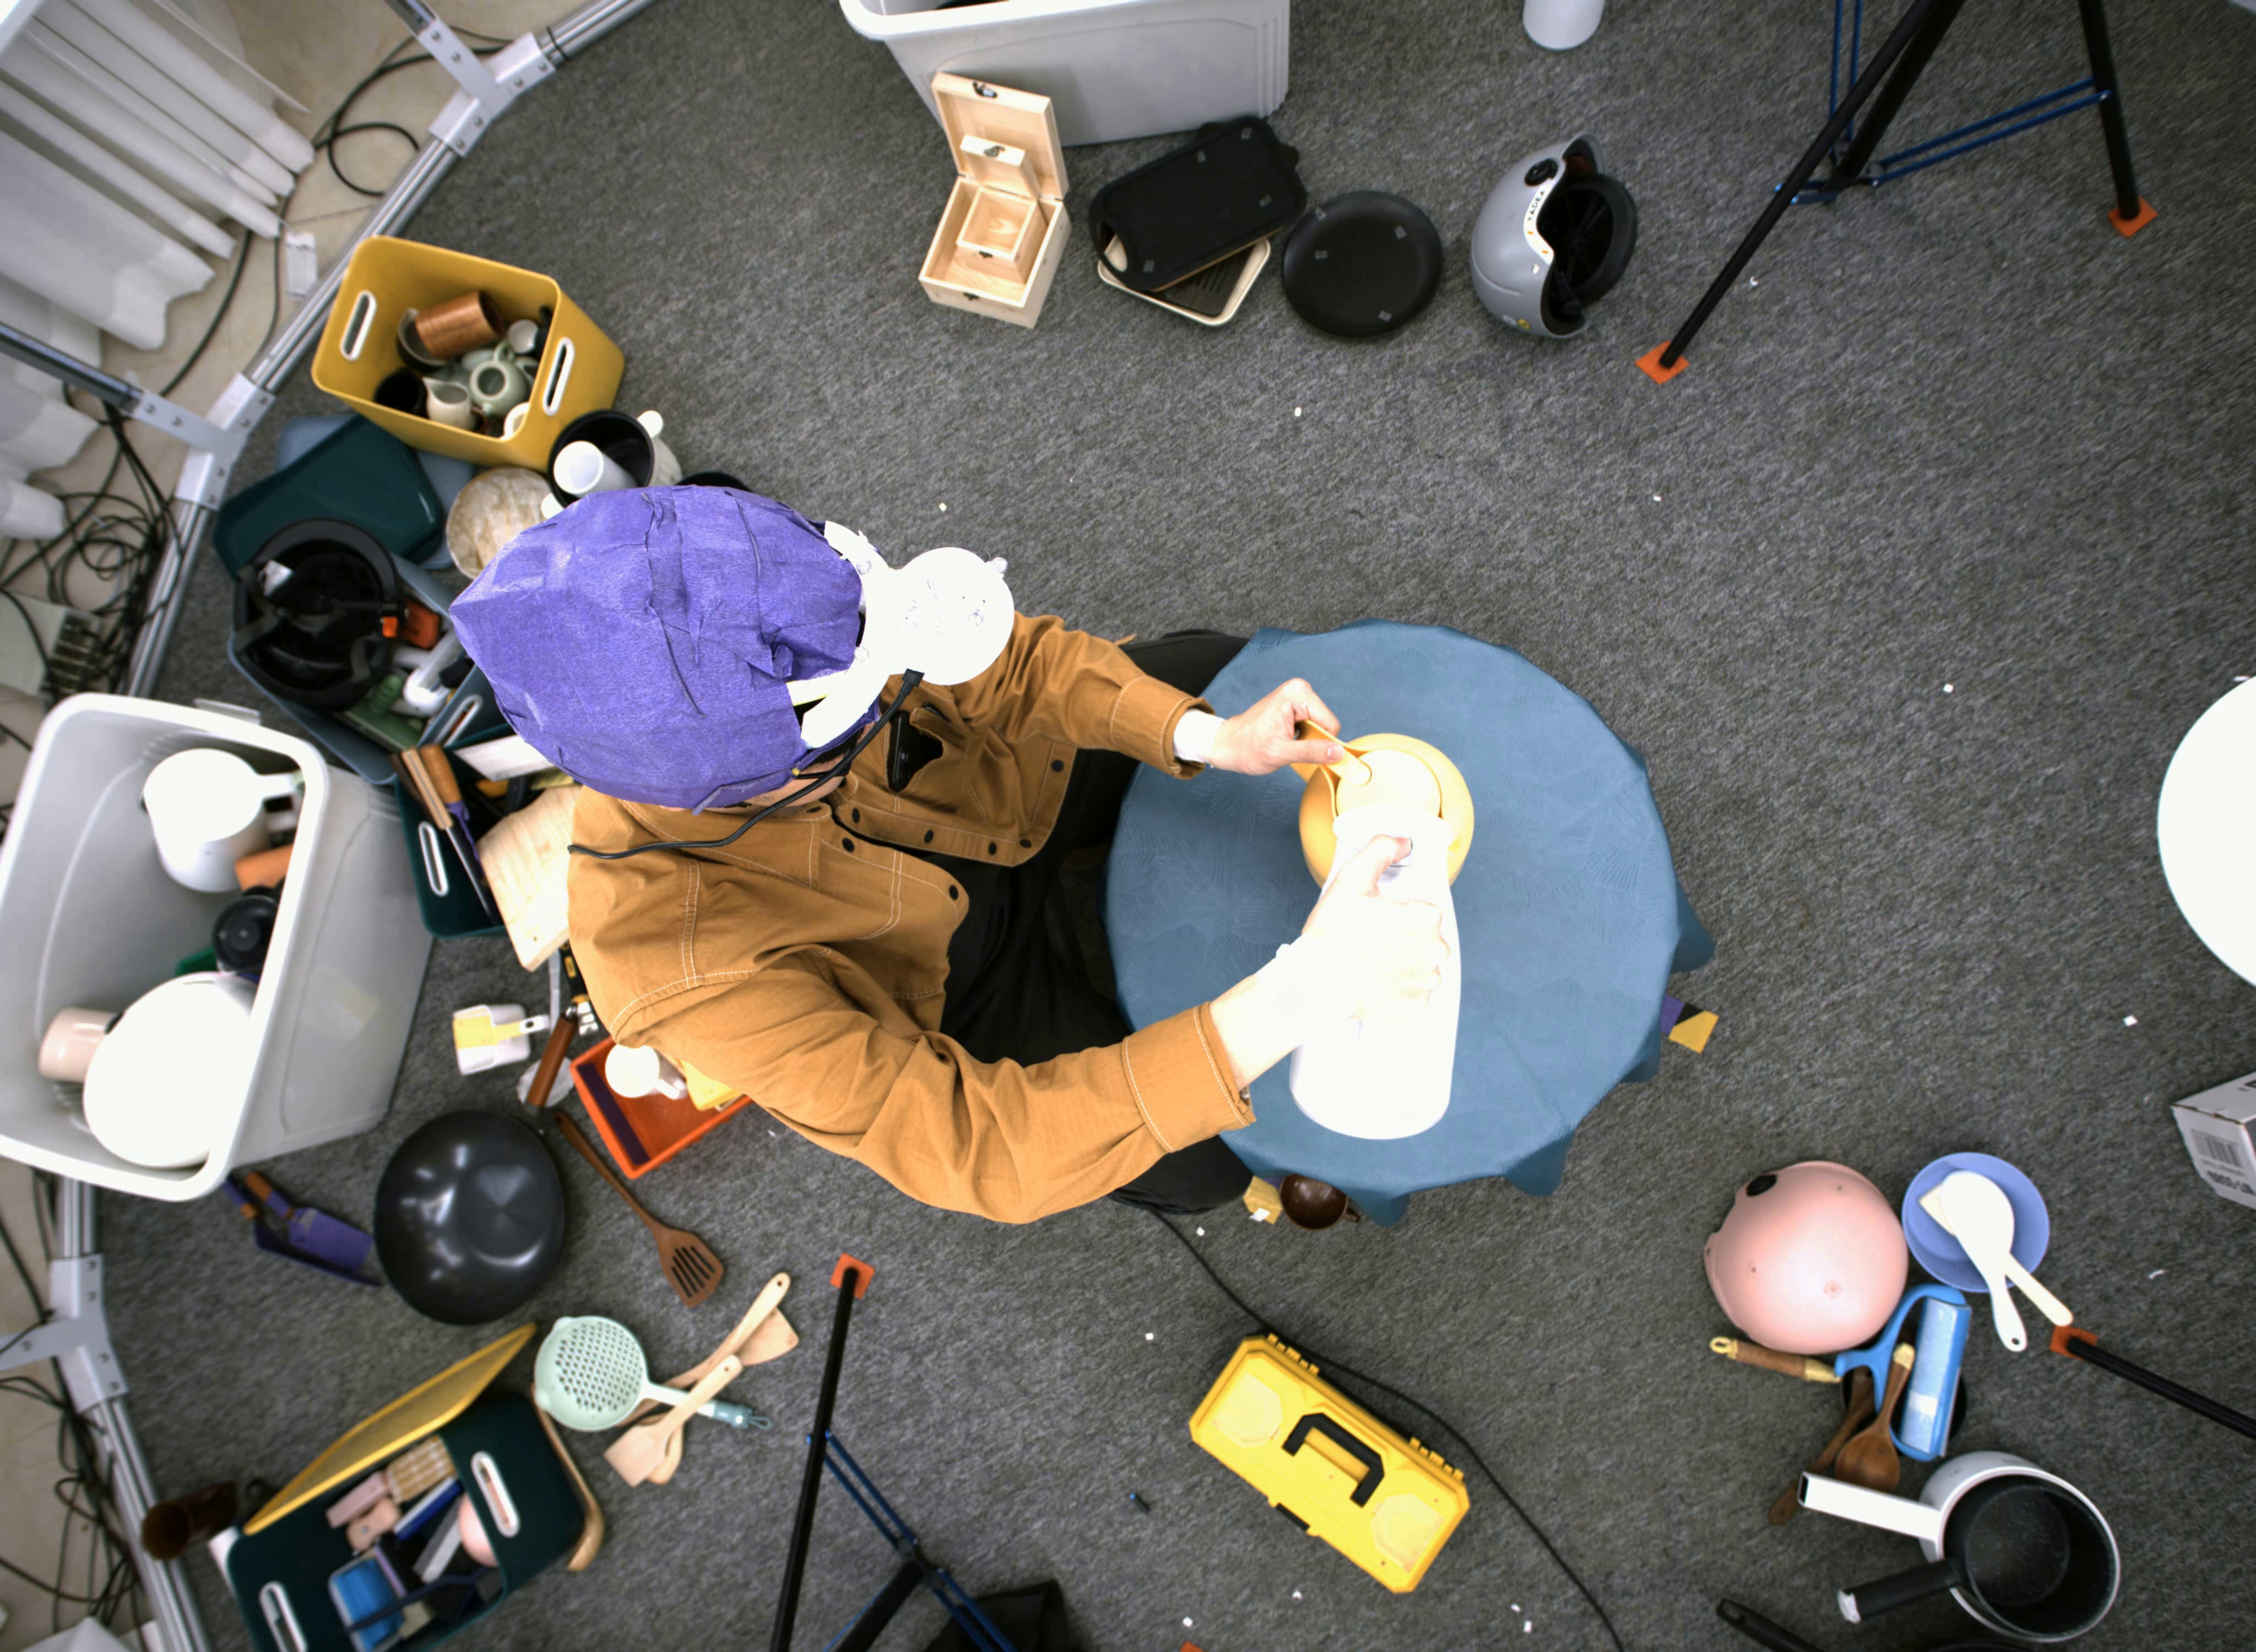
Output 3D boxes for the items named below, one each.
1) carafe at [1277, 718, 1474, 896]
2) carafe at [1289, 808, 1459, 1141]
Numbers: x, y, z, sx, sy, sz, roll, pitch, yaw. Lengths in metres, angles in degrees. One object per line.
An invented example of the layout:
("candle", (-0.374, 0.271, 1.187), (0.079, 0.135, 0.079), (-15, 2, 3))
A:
("carafe", (0.227, -0.017, 1.293), (0.201, 0.261, 0.163), (42, 90, 11))
("carafe", (0.197, 0.118, 1.083), (0.133, 0.164, 0.253), (4, 117, 9))
